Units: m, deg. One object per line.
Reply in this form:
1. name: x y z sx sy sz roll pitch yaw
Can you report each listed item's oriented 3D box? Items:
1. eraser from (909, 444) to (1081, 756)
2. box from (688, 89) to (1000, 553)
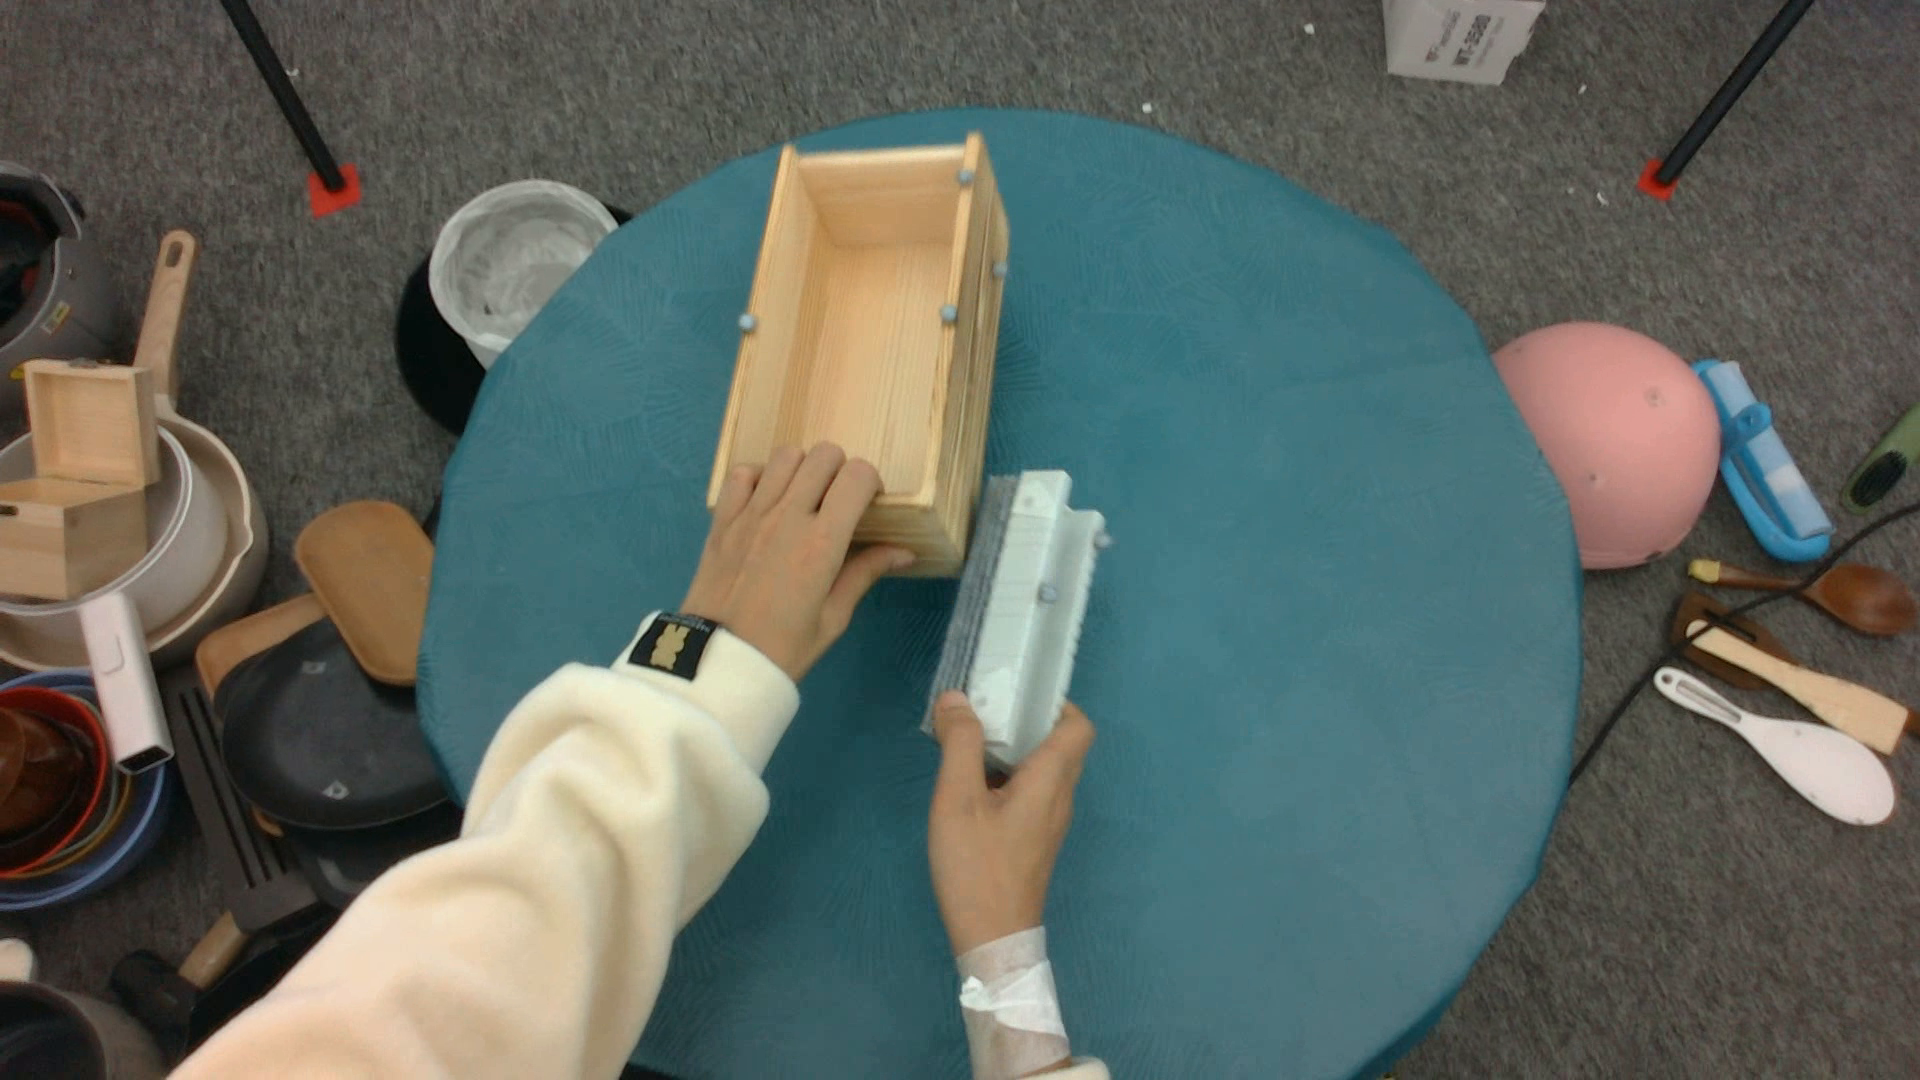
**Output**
1. eraser: 0.017 0.026 0.629 0.046 0.049 0.135 0 65 25
2. box: -0.049 -0.106 0.665 0.107 0.080 0.212 1 66 13
